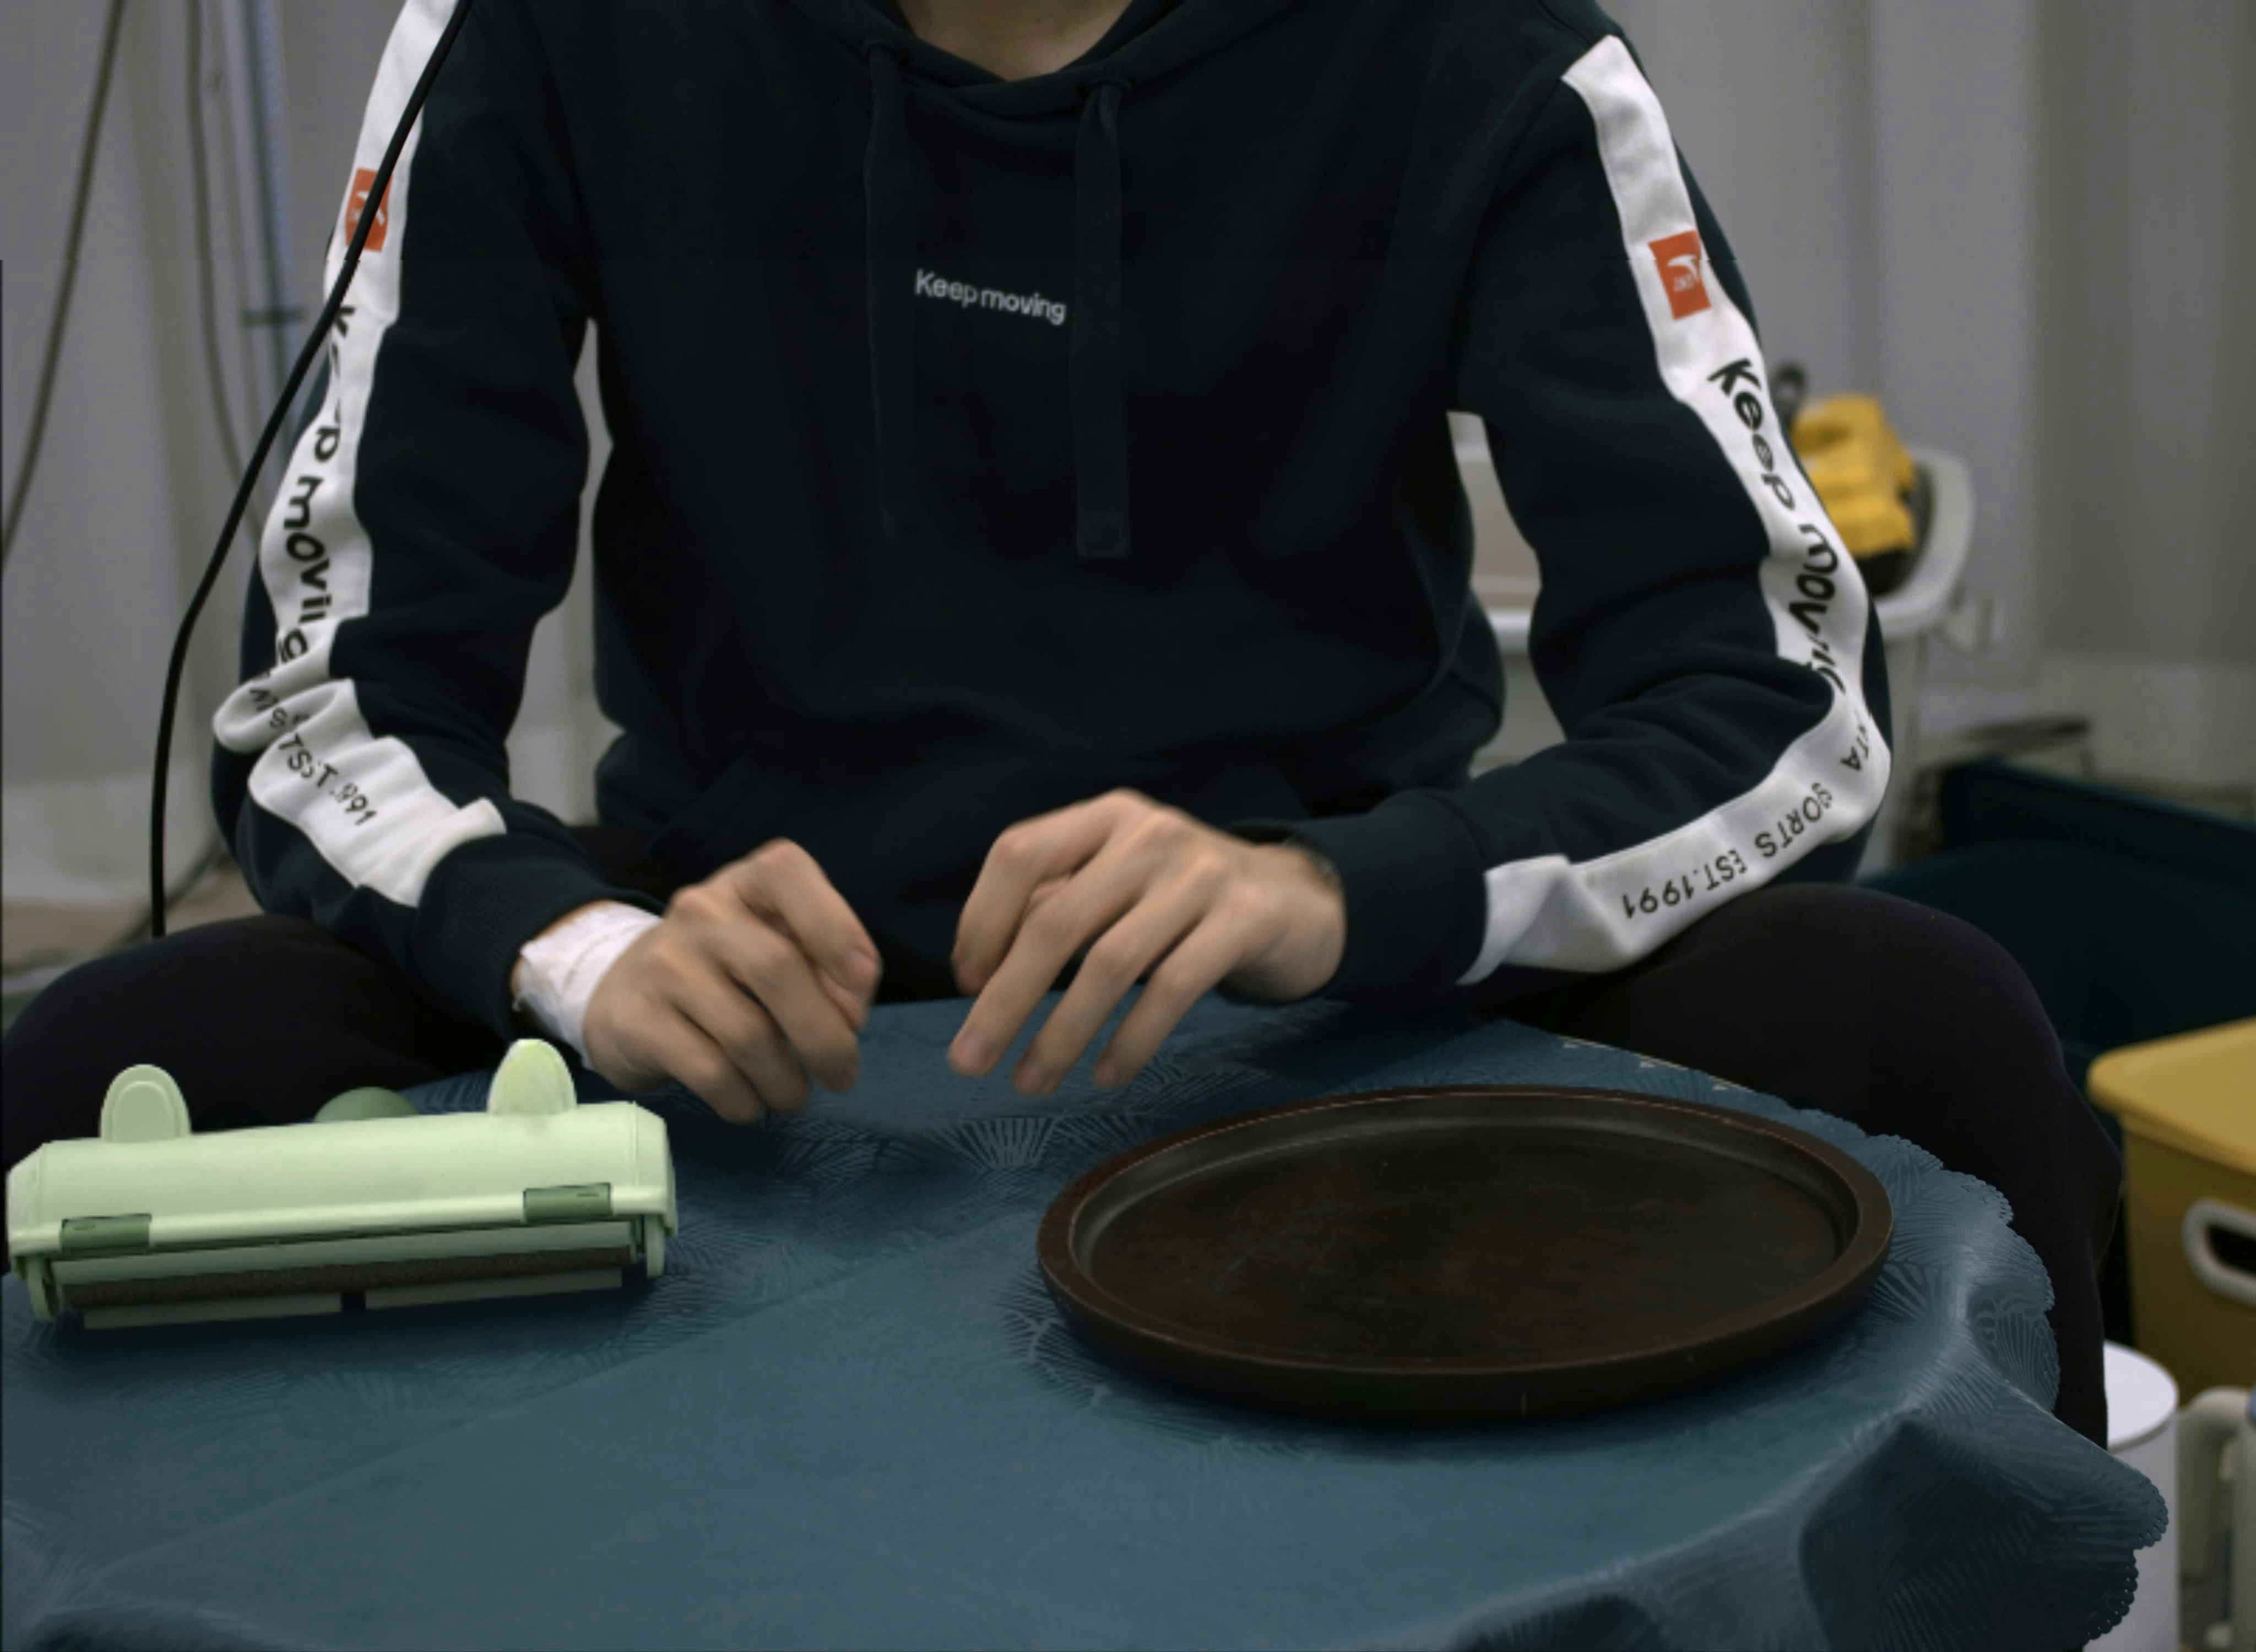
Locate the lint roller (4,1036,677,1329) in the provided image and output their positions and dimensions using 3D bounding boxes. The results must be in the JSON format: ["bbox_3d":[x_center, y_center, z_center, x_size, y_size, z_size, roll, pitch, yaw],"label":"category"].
[{"bbox_3d":[-0.240,0.093,1.692,0.198,0.082,0.185,-4,18,-3],"label":"lint roller"}]

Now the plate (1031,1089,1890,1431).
[{"bbox_3d":[0.098,0.125,1.609,0.254,0.029,0.256,-4,15,1],"label":"plate"}]
